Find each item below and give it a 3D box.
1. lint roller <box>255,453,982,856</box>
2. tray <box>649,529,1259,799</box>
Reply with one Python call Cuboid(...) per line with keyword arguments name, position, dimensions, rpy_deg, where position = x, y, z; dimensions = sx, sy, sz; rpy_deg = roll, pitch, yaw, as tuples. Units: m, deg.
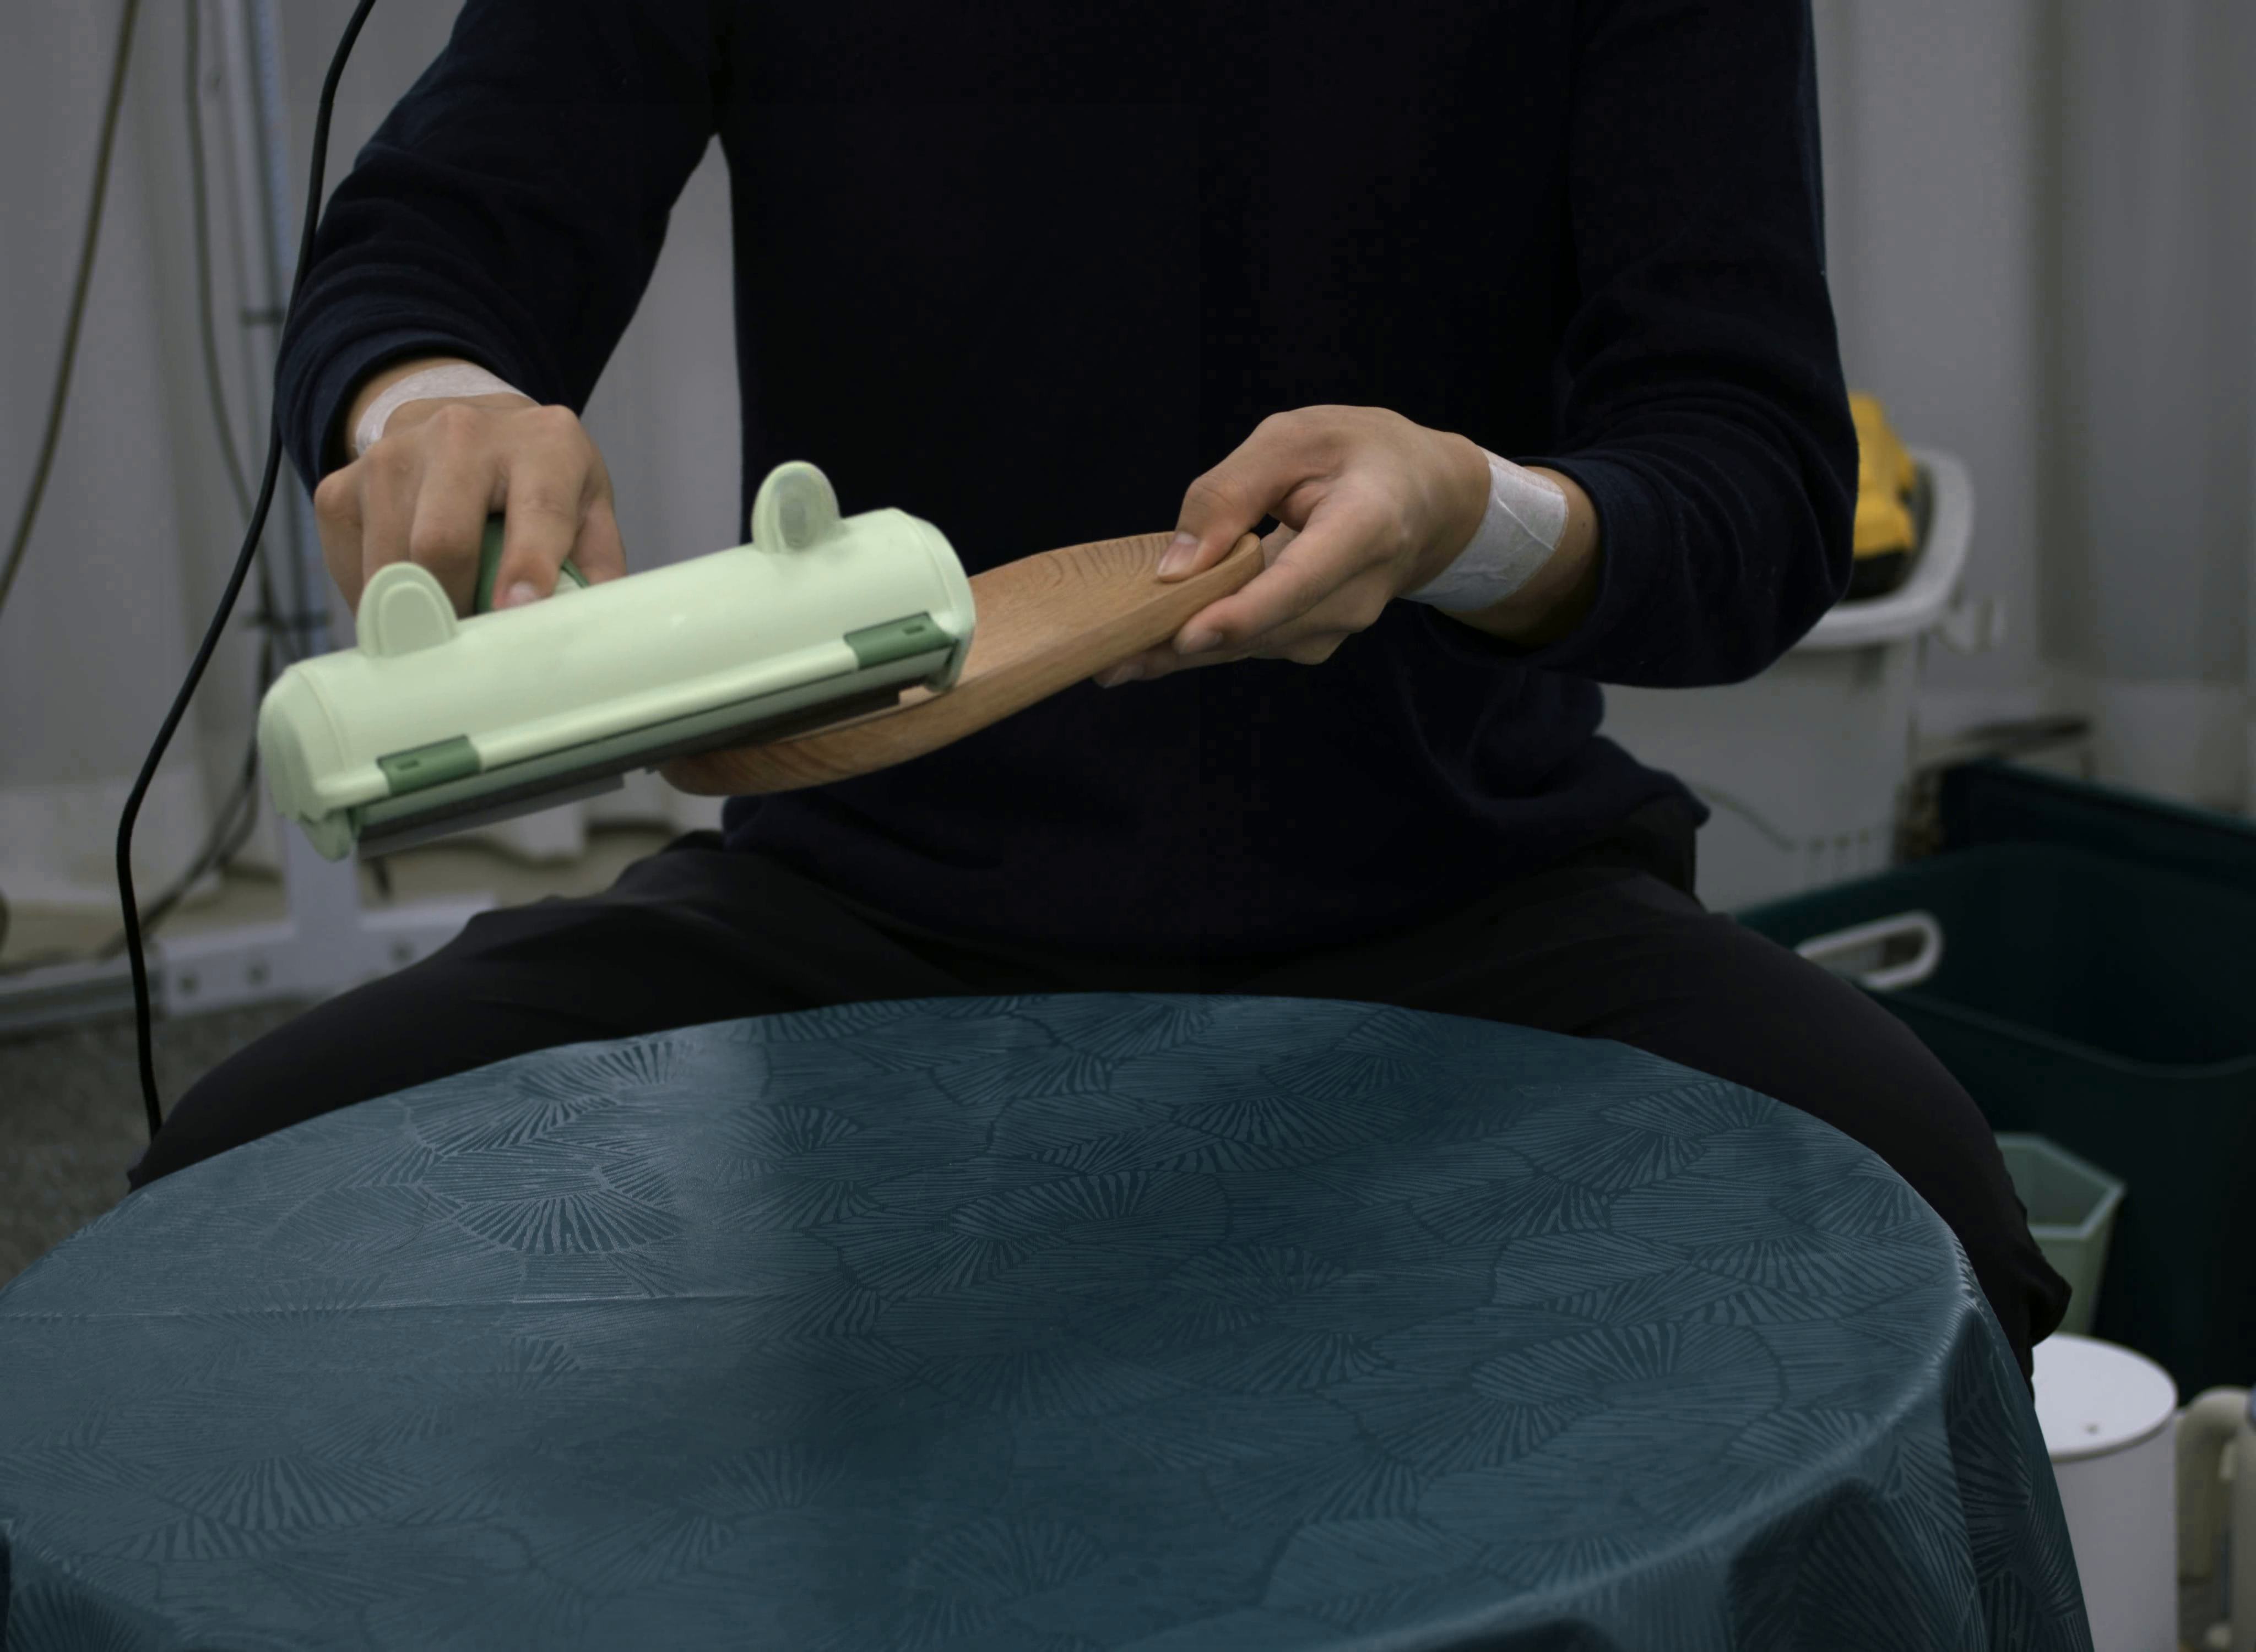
Cuboid(name="lint roller", position=(-0.165, -0.076, 1.532), dimensions=(0.198, 0.081, 0.186), rpy_deg=(-17, 39, -23))
Cuboid(name="tray", position=(-0.048, -0.049, 1.593), dimensions=(0.102, 0.020, 0.231), rpy_deg=(-3, 17, 39))
